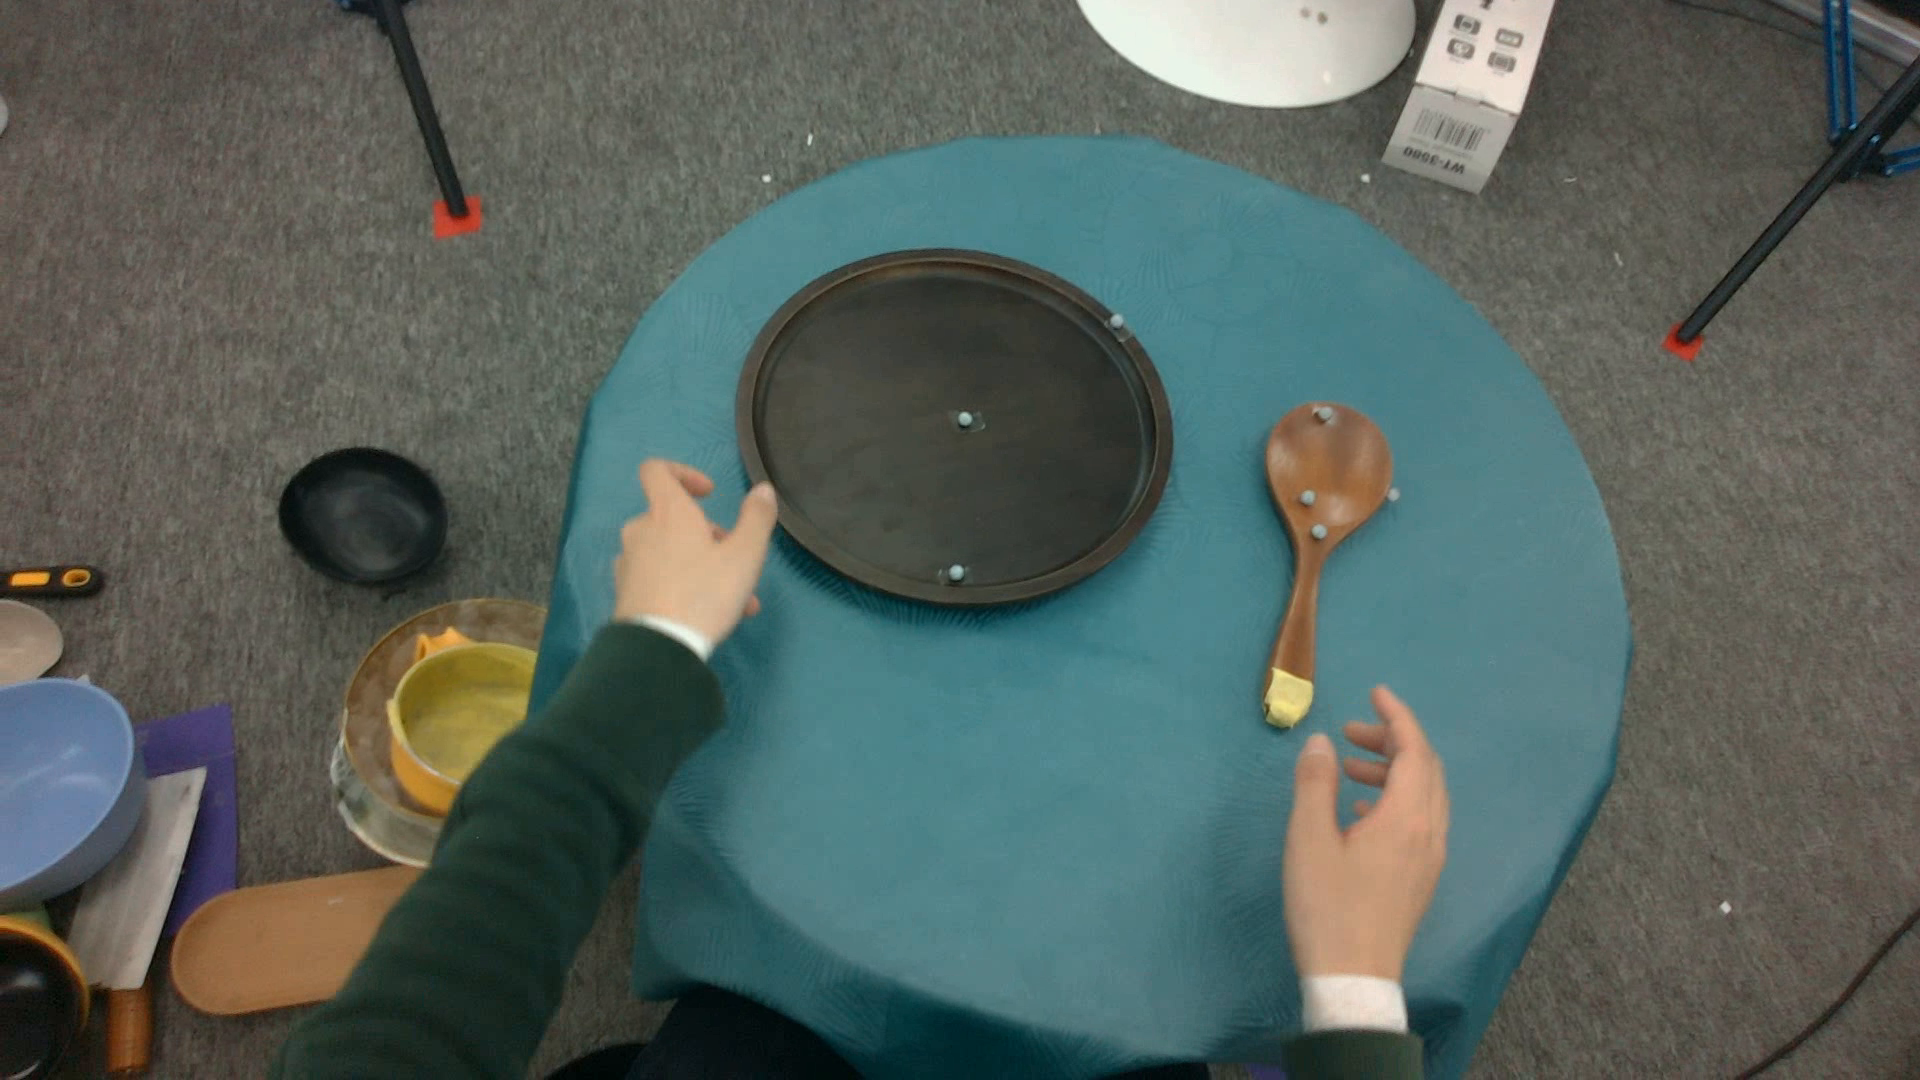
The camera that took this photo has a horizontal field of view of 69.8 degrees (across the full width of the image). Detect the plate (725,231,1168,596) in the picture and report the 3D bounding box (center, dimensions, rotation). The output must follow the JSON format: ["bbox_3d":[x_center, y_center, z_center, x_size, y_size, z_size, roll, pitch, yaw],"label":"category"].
[{"bbox_3d":[-0.007,-0.078,0.791,0.255,0.029,0.256,4,57,-6],"label":"plate"}]

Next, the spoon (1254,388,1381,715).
[{"bbox_3d":[0.192,0.002,0.772,0.075,0.017,0.217,16,58,3],"label":"spoon"}]
